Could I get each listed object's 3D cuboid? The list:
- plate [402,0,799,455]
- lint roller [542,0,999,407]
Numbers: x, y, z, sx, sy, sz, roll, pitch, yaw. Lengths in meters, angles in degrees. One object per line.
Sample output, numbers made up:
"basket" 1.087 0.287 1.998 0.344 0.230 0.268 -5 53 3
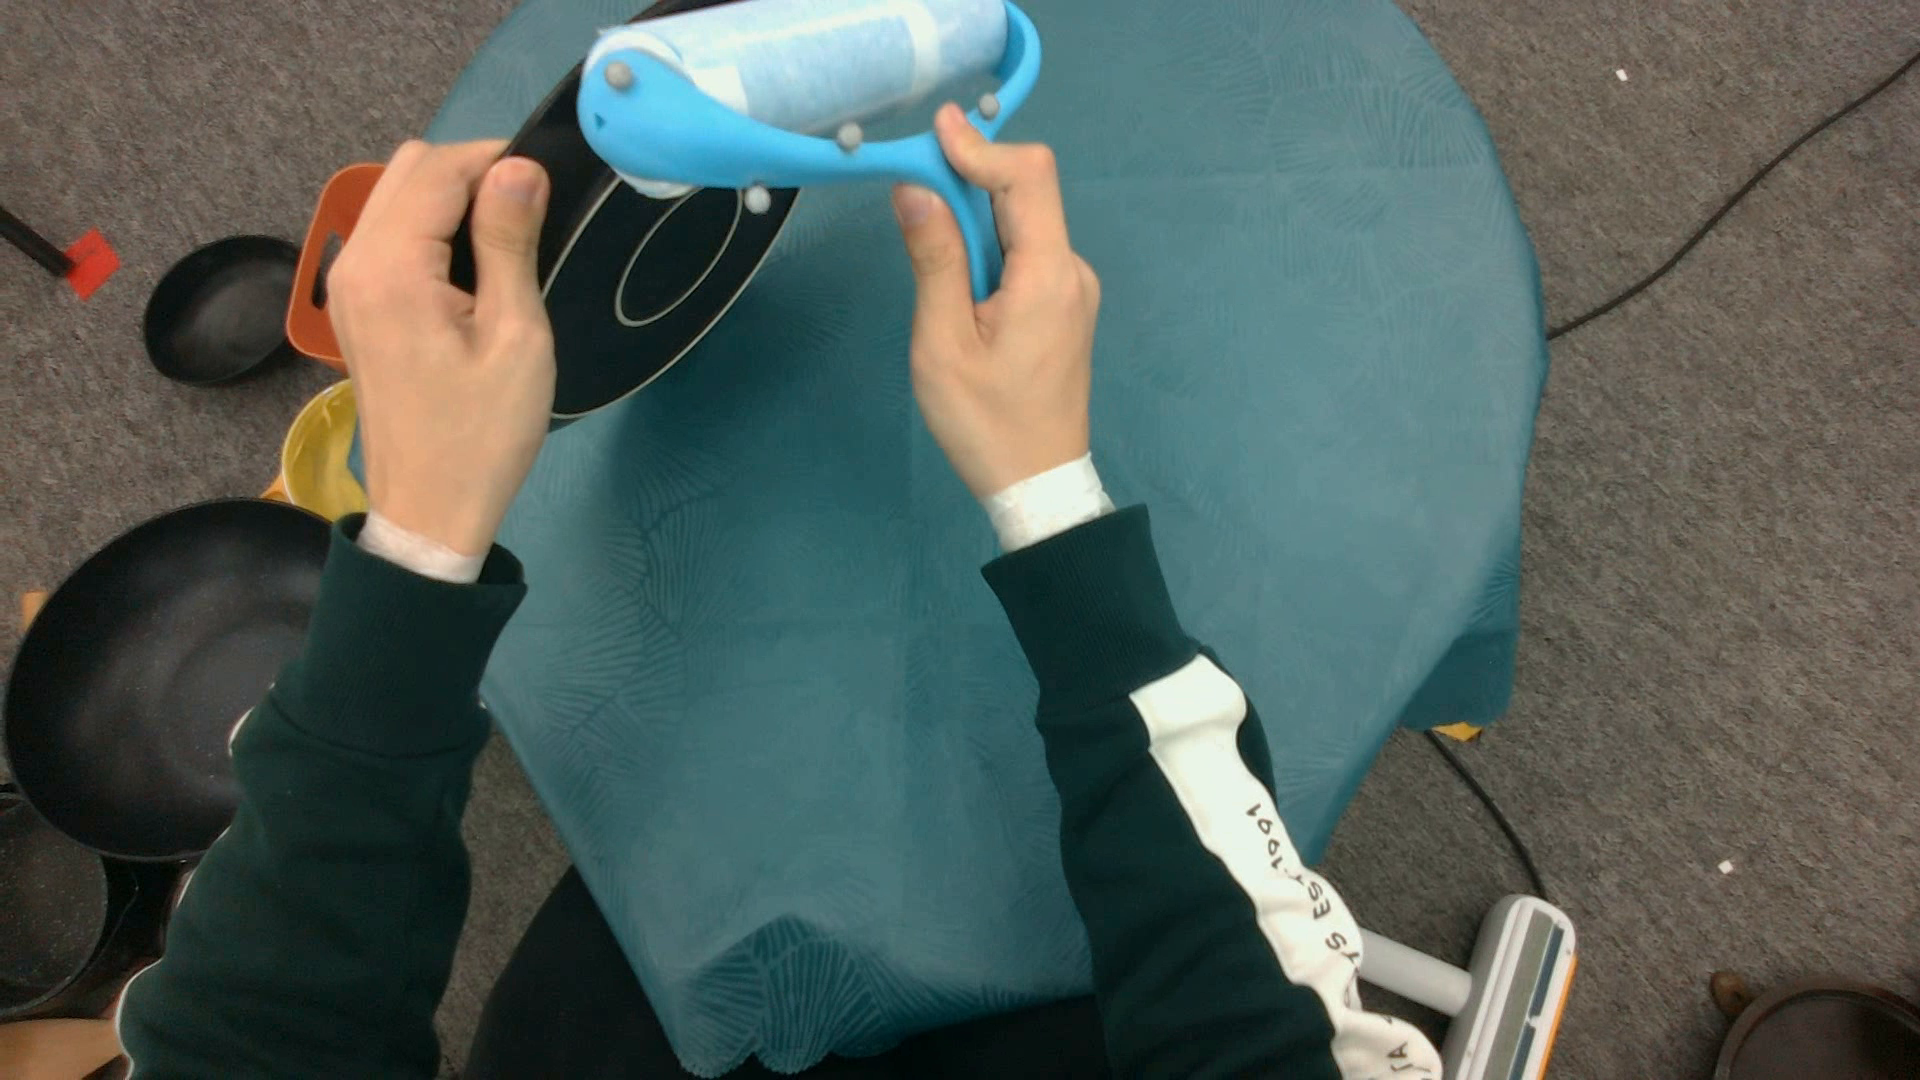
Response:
"plate" -0.137 -0.128 0.587 0.023 0.244 0.245 37 78 5
"lint roller" -0.033 -0.139 0.526 0.180 0.067 0.230 55 41 -12
